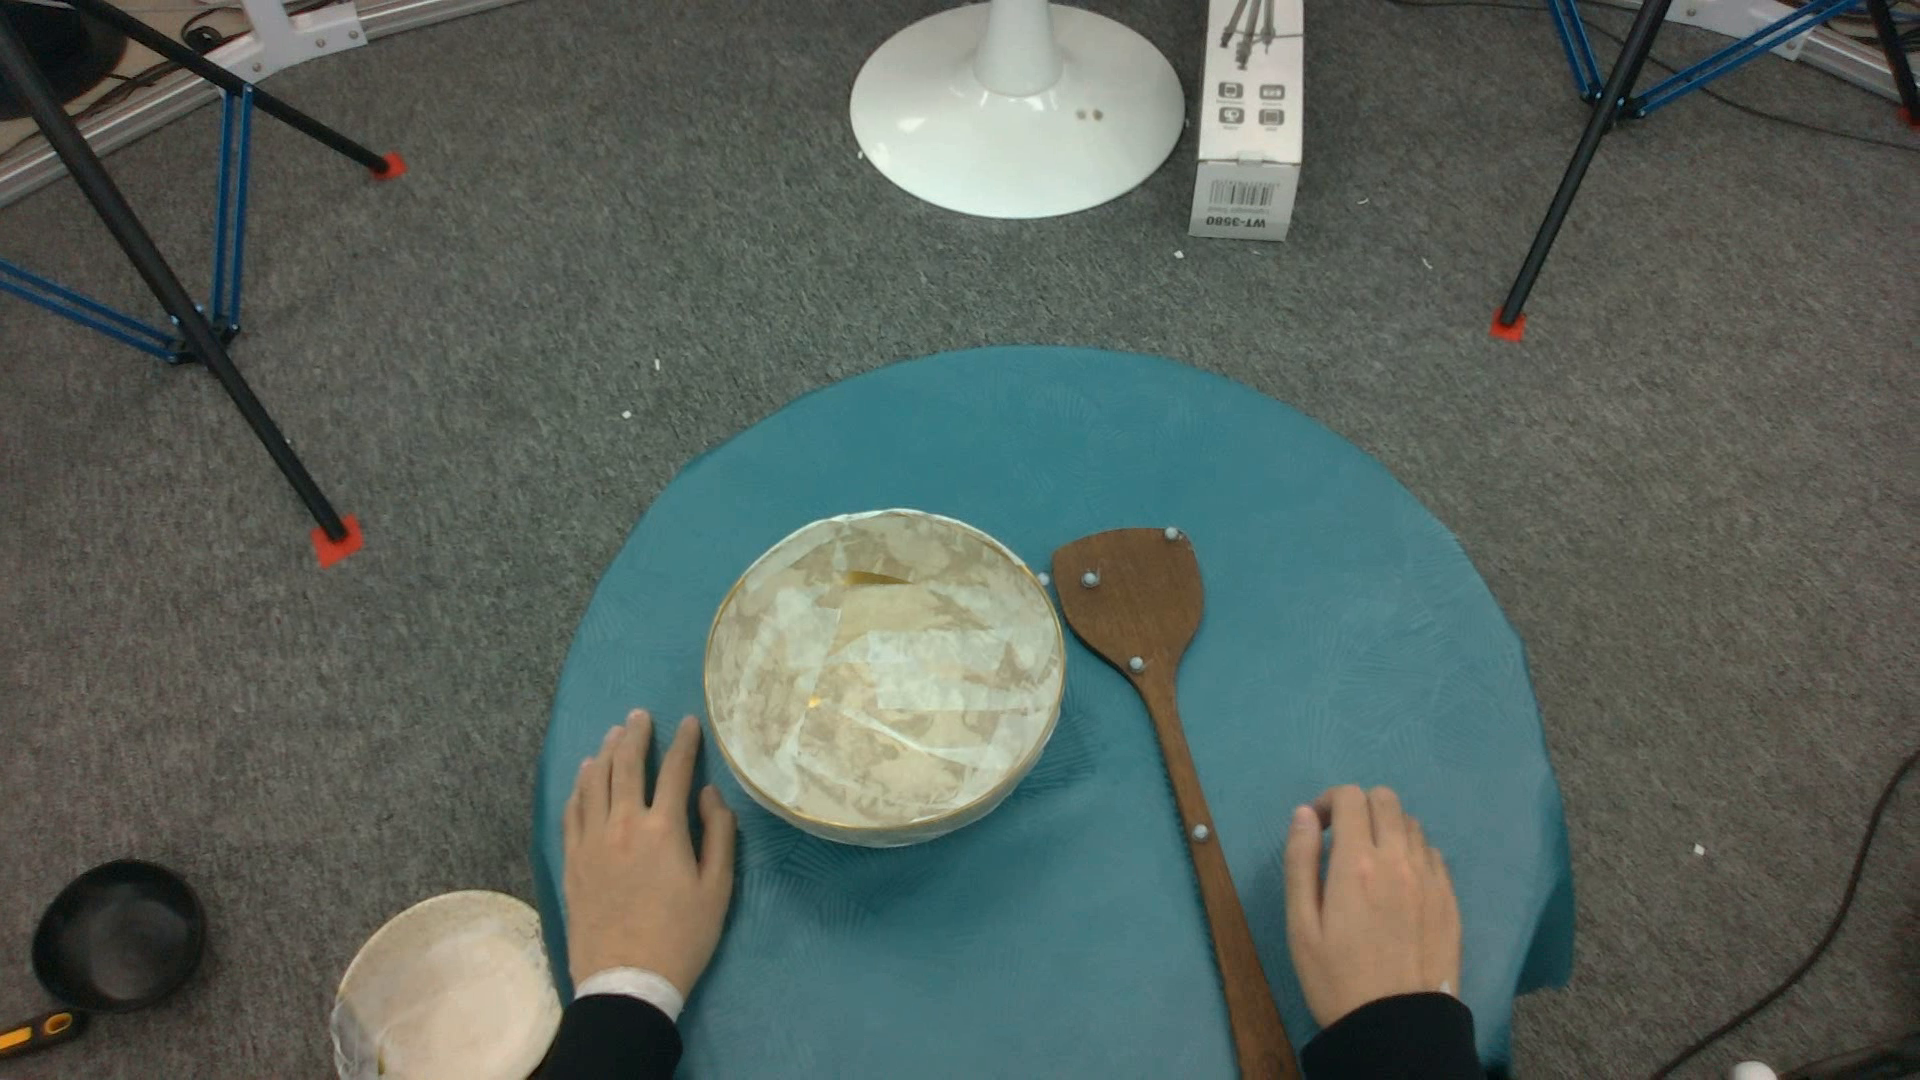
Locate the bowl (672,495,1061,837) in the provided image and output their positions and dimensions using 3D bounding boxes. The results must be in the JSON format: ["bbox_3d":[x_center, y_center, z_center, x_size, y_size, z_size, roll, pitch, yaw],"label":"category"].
[{"bbox_3d":[-0.050,0.085,0.786,0.215,0.094,0.215,1,57,-1],"label":"bowl"}]

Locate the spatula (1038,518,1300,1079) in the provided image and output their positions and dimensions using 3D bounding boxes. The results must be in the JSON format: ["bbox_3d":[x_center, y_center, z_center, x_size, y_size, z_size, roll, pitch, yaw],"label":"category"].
[{"bbox_3d":[0.128,0.146,0.791,0.096,0.016,0.387,-9,56,-6],"label":"spatula"}]
